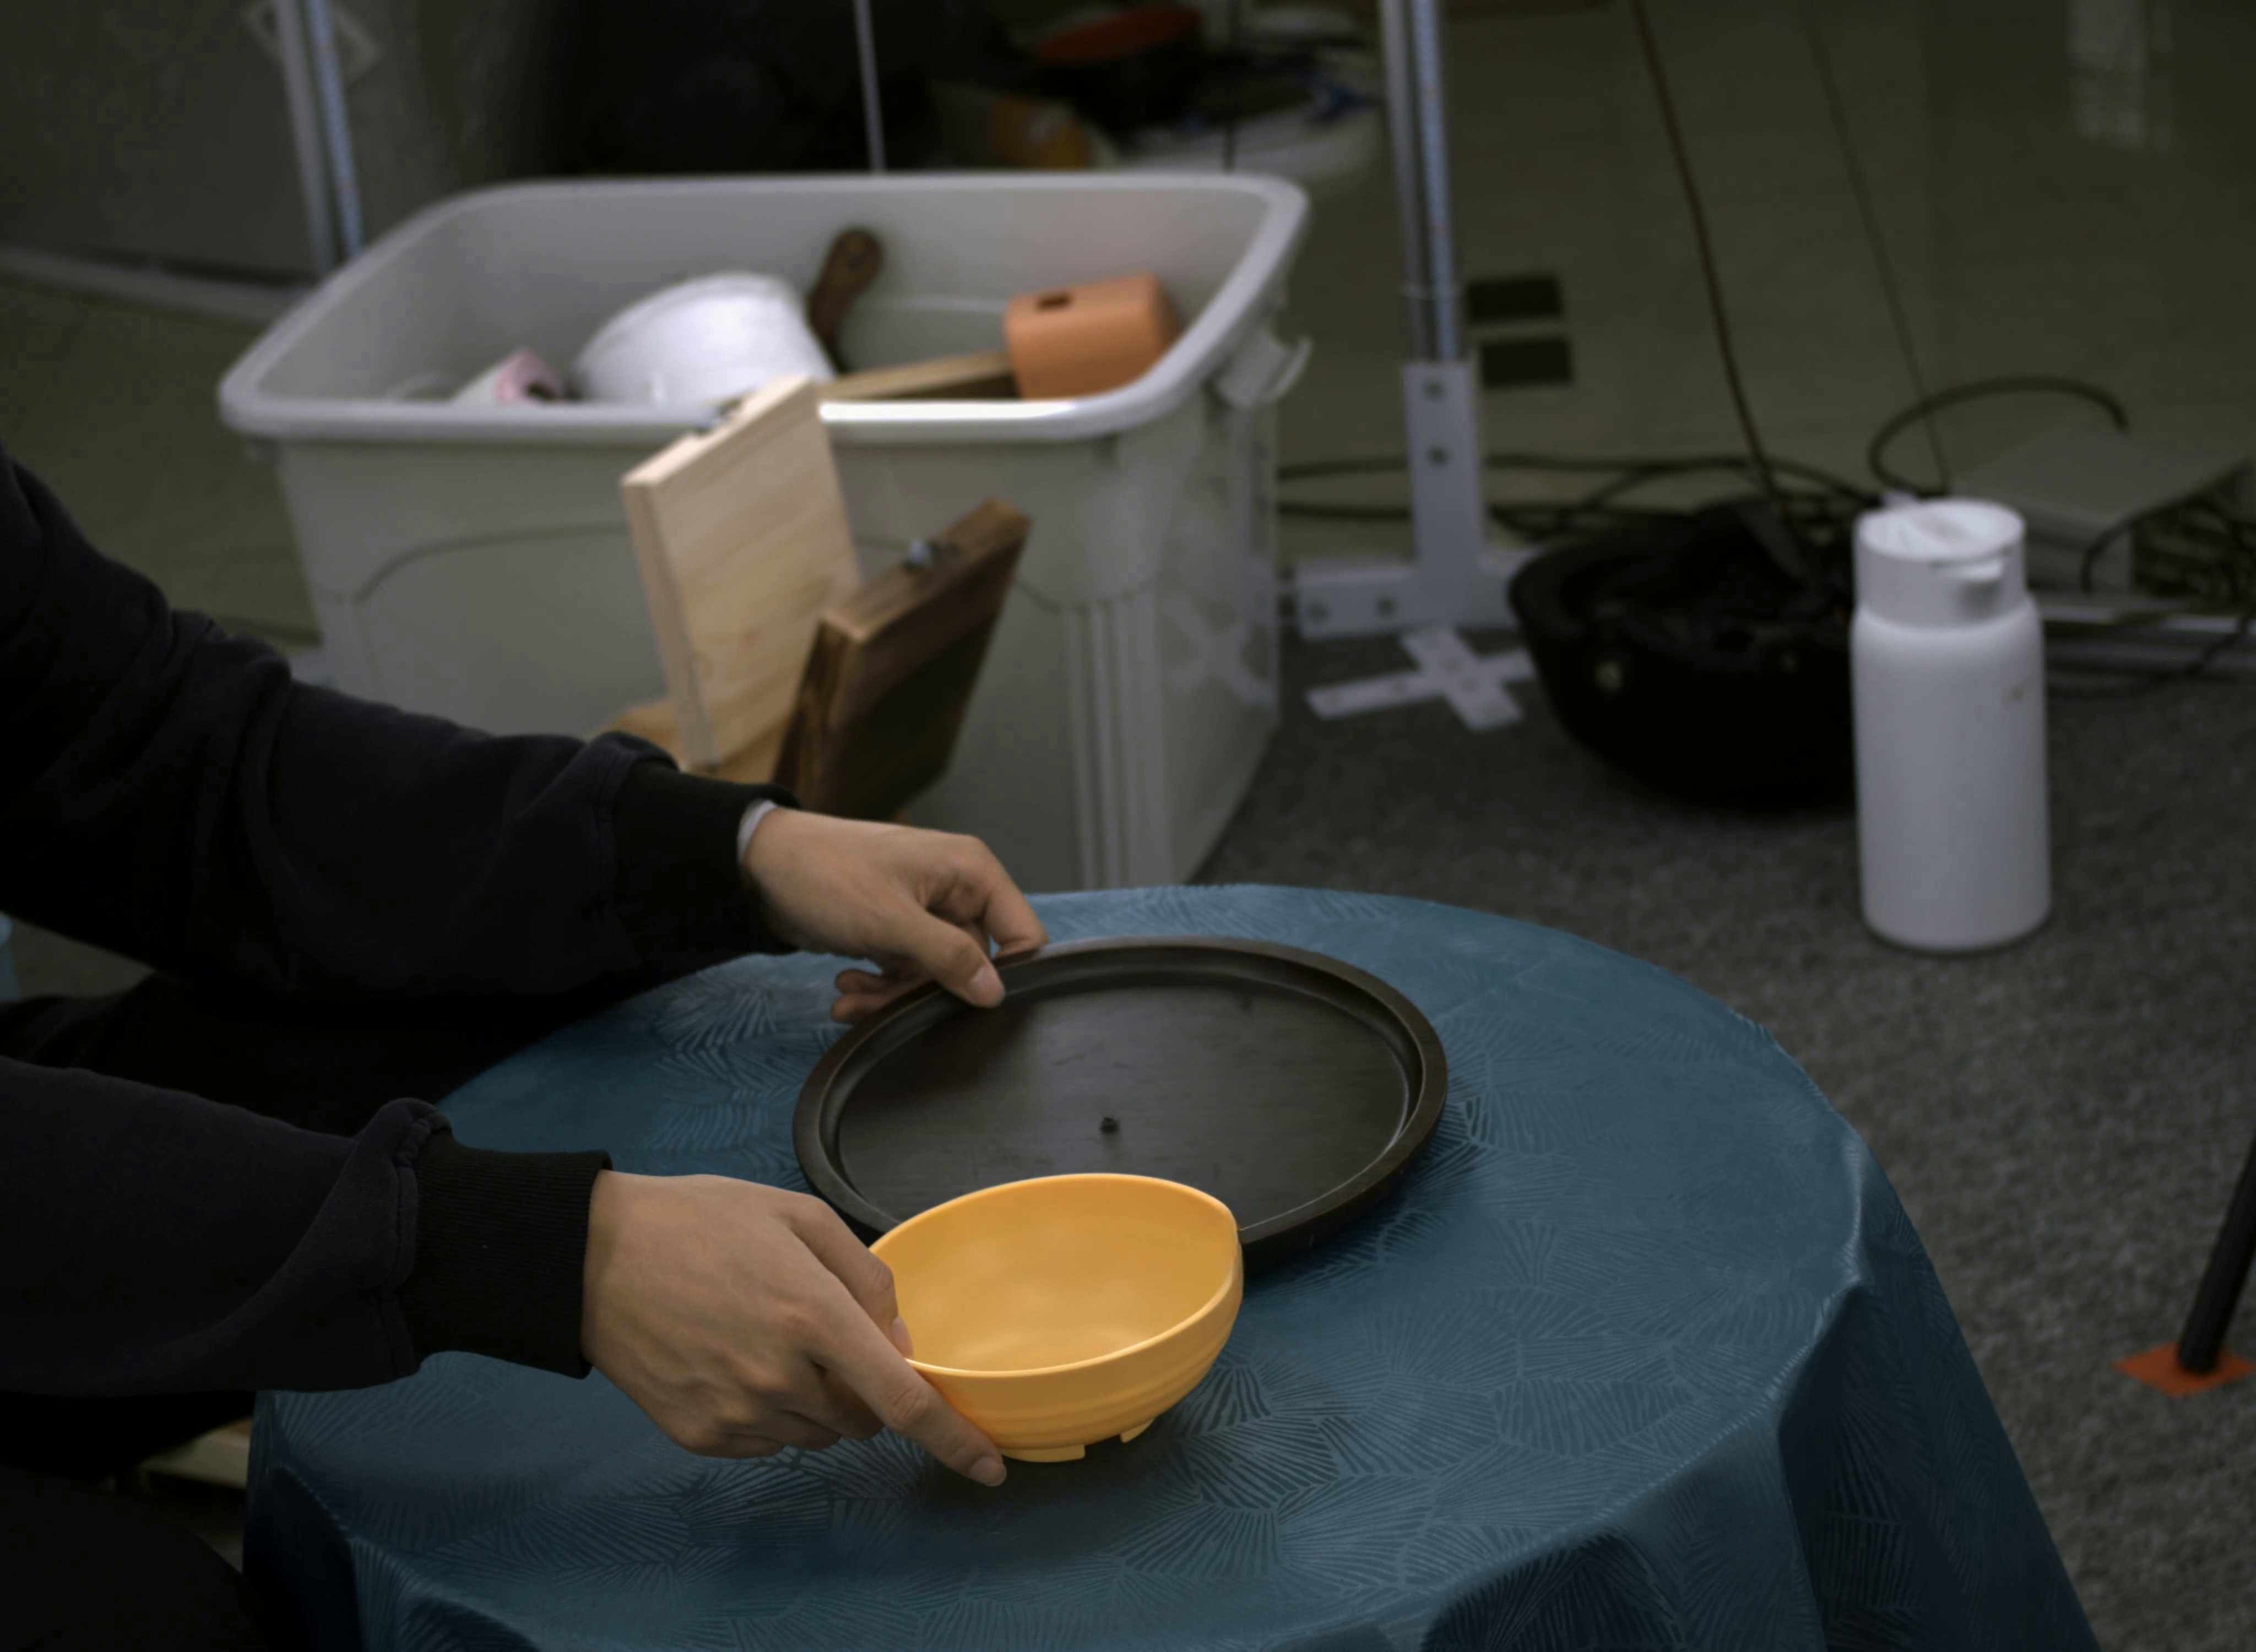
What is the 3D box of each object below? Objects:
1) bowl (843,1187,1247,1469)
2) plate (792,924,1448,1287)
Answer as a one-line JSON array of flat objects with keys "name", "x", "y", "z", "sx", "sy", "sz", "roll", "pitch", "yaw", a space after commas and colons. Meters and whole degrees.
[{"name": "bowl", "x": -0.024, "y": 0.184, "z": 1.993, "sx": 0.145, "sy": 0.061, "sz": 0.143, "roll": -9, "pitch": 22, "yaw": 4}, {"name": "plate", "x": -0.003, "y": 0.112, "z": 2.175, "sx": 0.254, "sy": 0.029, "sz": 0.250, "roll": -5, "pitch": 29, "yaw": 3}]
